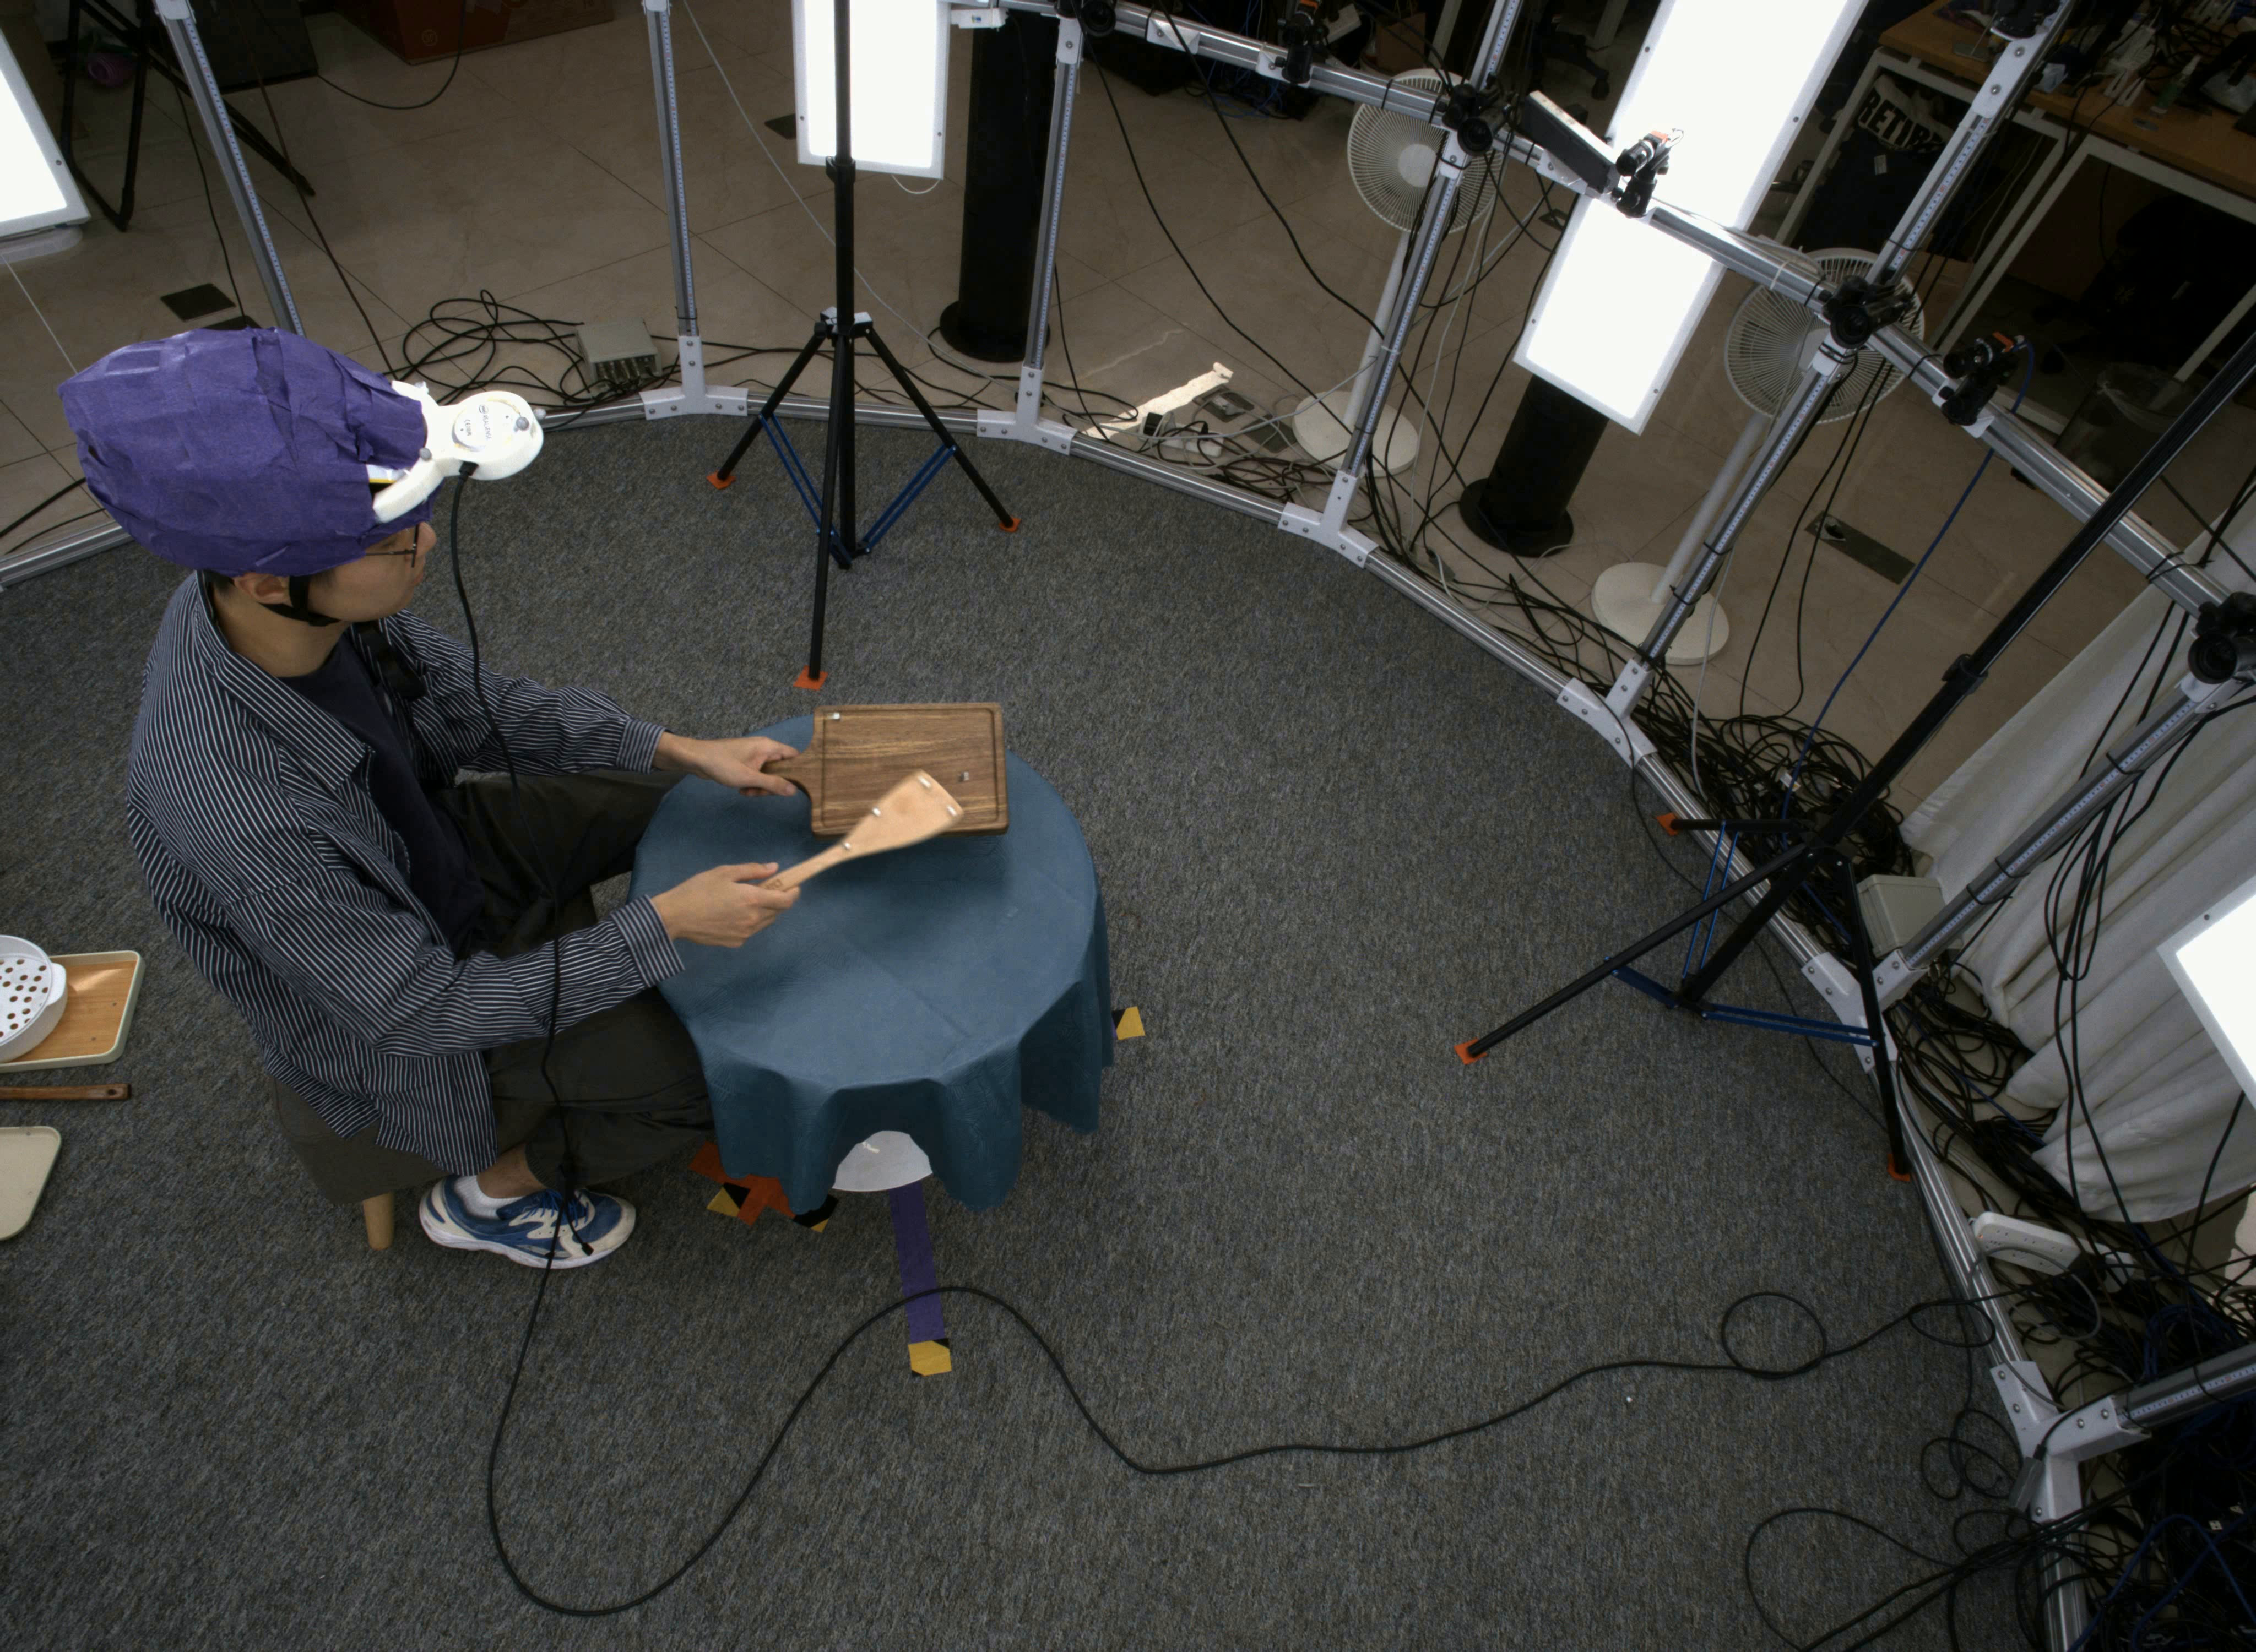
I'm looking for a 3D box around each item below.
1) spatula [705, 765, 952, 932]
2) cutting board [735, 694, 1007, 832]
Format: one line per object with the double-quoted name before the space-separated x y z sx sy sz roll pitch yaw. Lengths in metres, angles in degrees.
"spatula" -0.367 0.030 1.570 0.328 0.017 0.079 -33 78 -20
"cutting board" -0.336 -0.085 1.706 0.351 0.023 0.198 -1 63 -9
